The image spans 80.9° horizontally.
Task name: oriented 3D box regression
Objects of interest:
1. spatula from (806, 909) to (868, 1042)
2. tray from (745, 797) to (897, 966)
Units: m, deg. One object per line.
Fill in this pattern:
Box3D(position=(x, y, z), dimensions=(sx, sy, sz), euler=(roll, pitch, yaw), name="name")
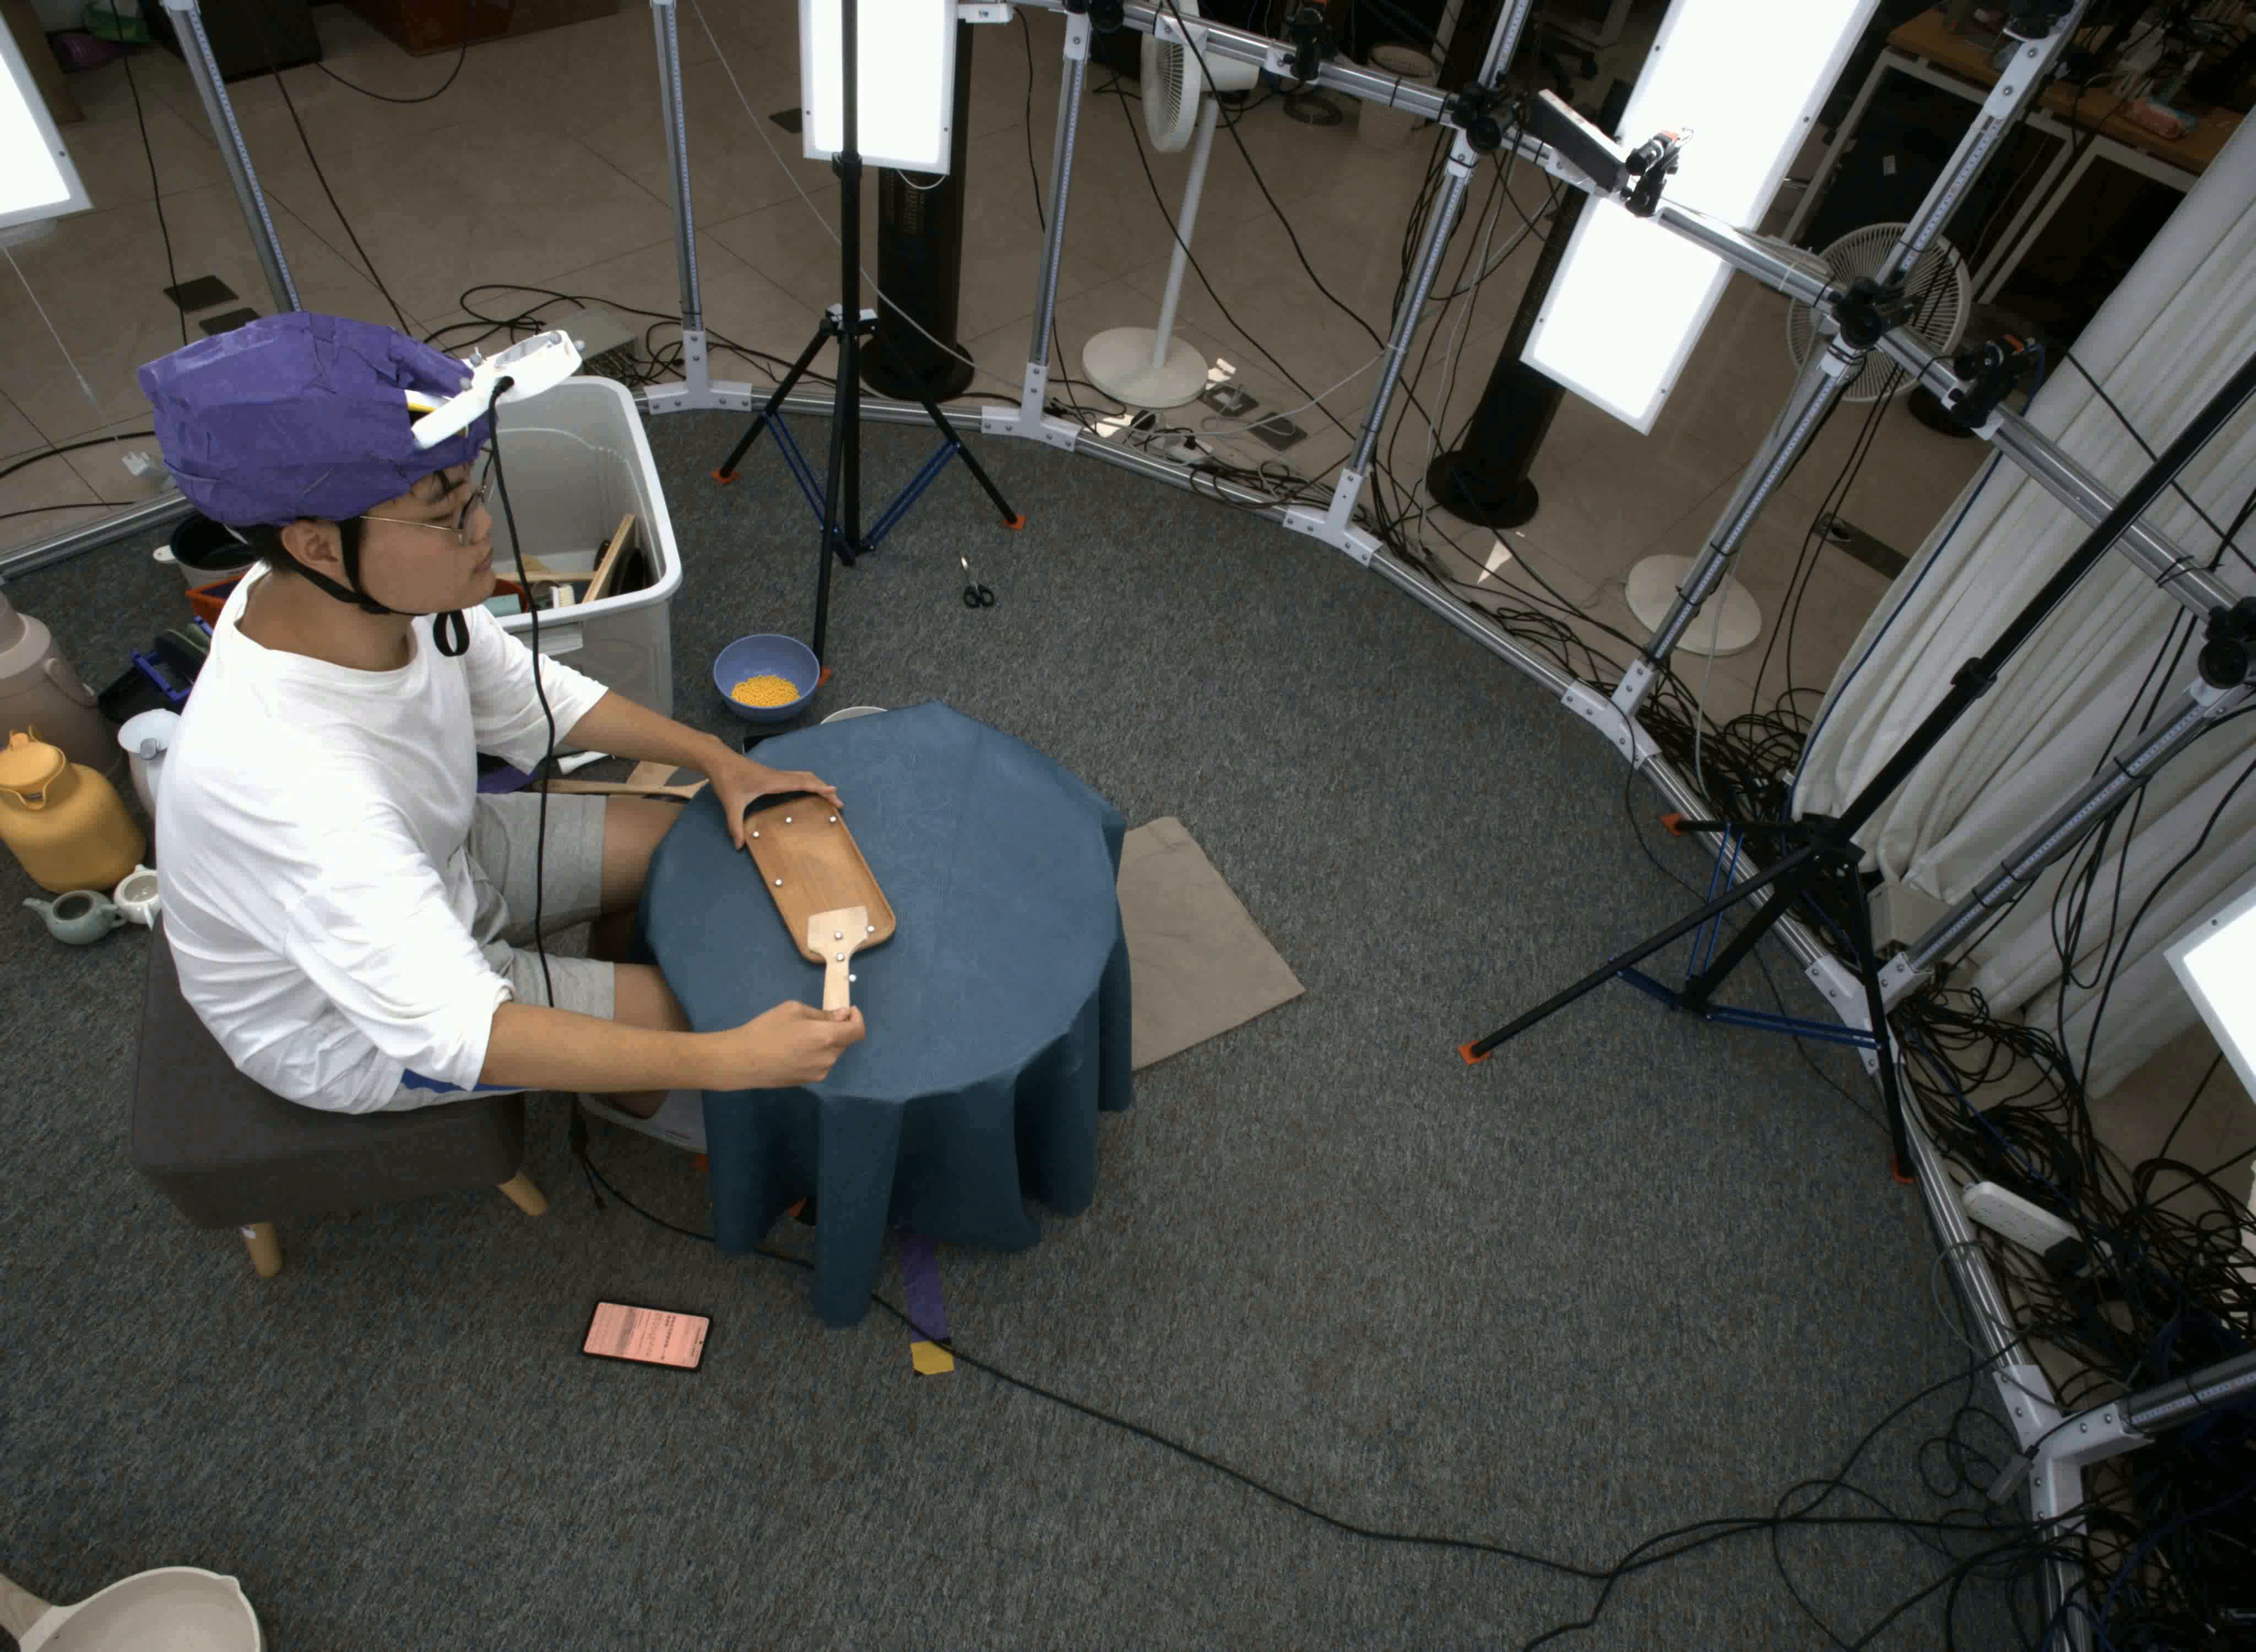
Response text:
Box3D(position=(-0.323, 0.159, 1.429), dimensions=(0.072, 0.011, 0.285), euler=(-9, 24, -8), name="spatula")
Box3D(position=(-0.399, 0.068, 1.681), dimensions=(0.131, 0.023, 0.244), euler=(-20, 62, -23), name="tray")
